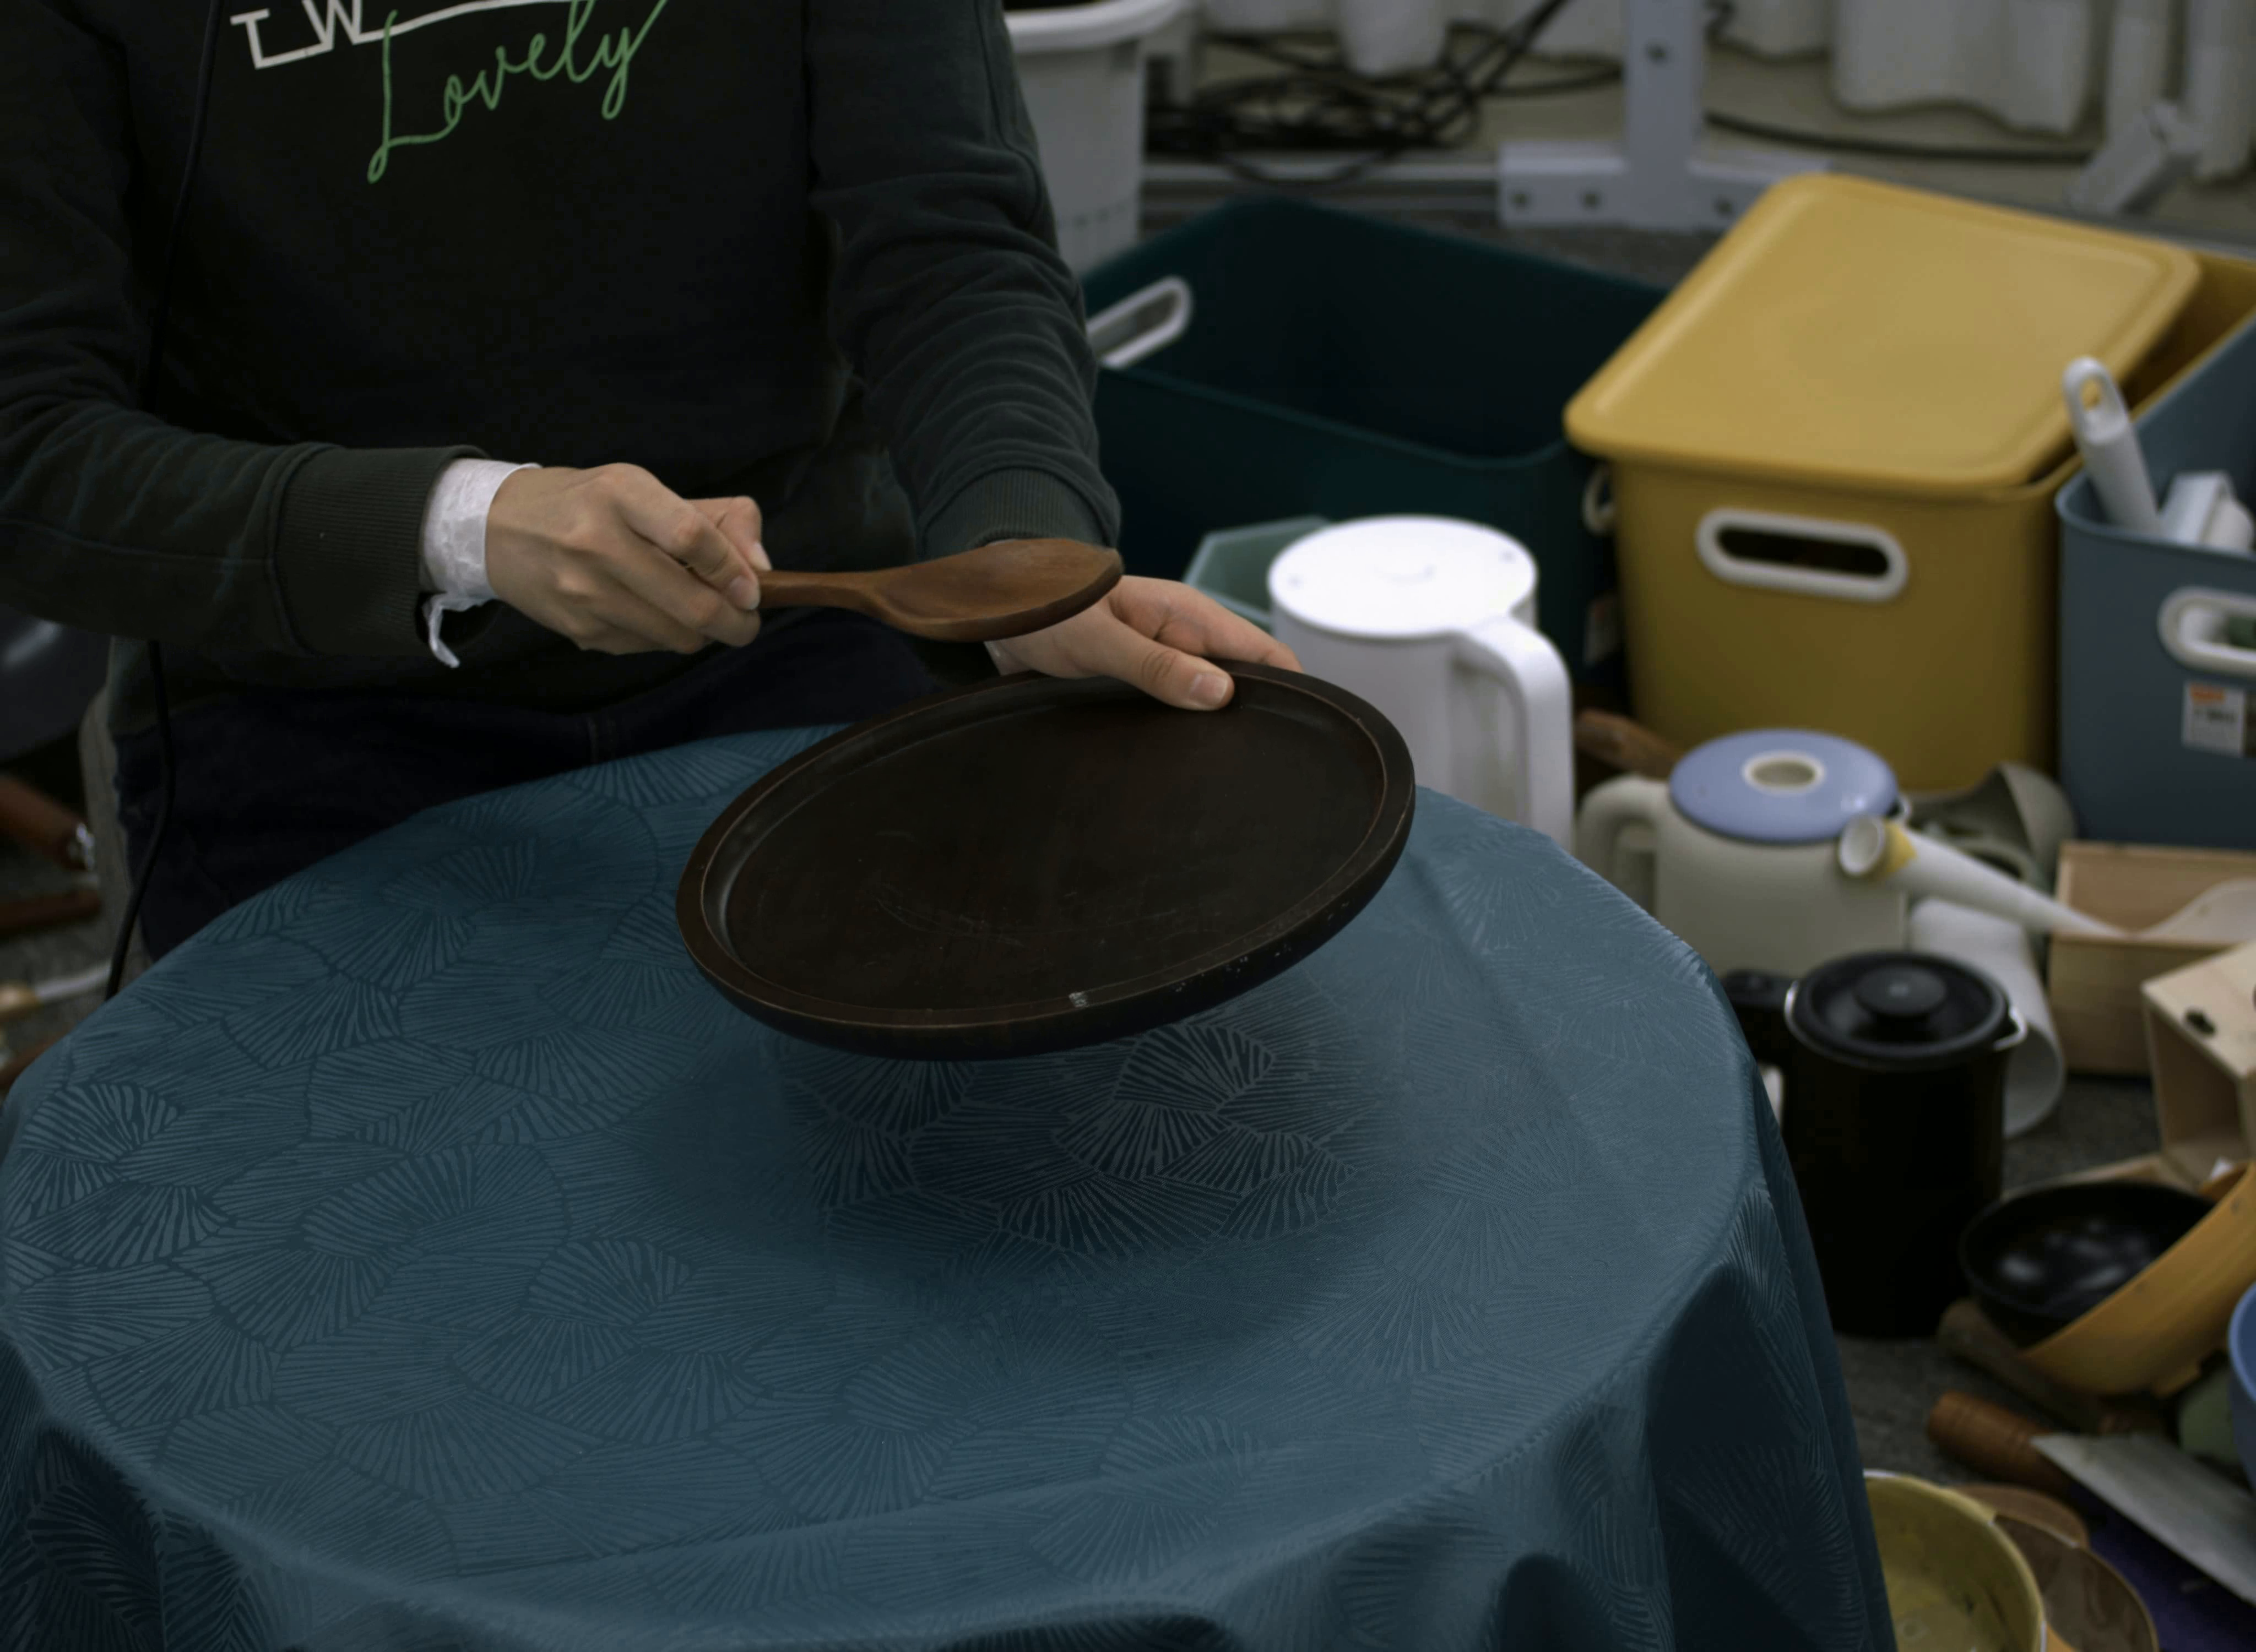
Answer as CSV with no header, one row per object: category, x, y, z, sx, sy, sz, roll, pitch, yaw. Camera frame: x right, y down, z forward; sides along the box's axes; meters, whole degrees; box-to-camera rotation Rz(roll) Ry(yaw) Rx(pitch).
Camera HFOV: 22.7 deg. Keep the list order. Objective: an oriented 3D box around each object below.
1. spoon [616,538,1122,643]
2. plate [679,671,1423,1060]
spoon,-0.093,-0.081,1.960,0.214,0.017,0.076,3,26,36
plate,-0.025,0.011,1.882,0.253,0.029,0.258,-8,27,4
